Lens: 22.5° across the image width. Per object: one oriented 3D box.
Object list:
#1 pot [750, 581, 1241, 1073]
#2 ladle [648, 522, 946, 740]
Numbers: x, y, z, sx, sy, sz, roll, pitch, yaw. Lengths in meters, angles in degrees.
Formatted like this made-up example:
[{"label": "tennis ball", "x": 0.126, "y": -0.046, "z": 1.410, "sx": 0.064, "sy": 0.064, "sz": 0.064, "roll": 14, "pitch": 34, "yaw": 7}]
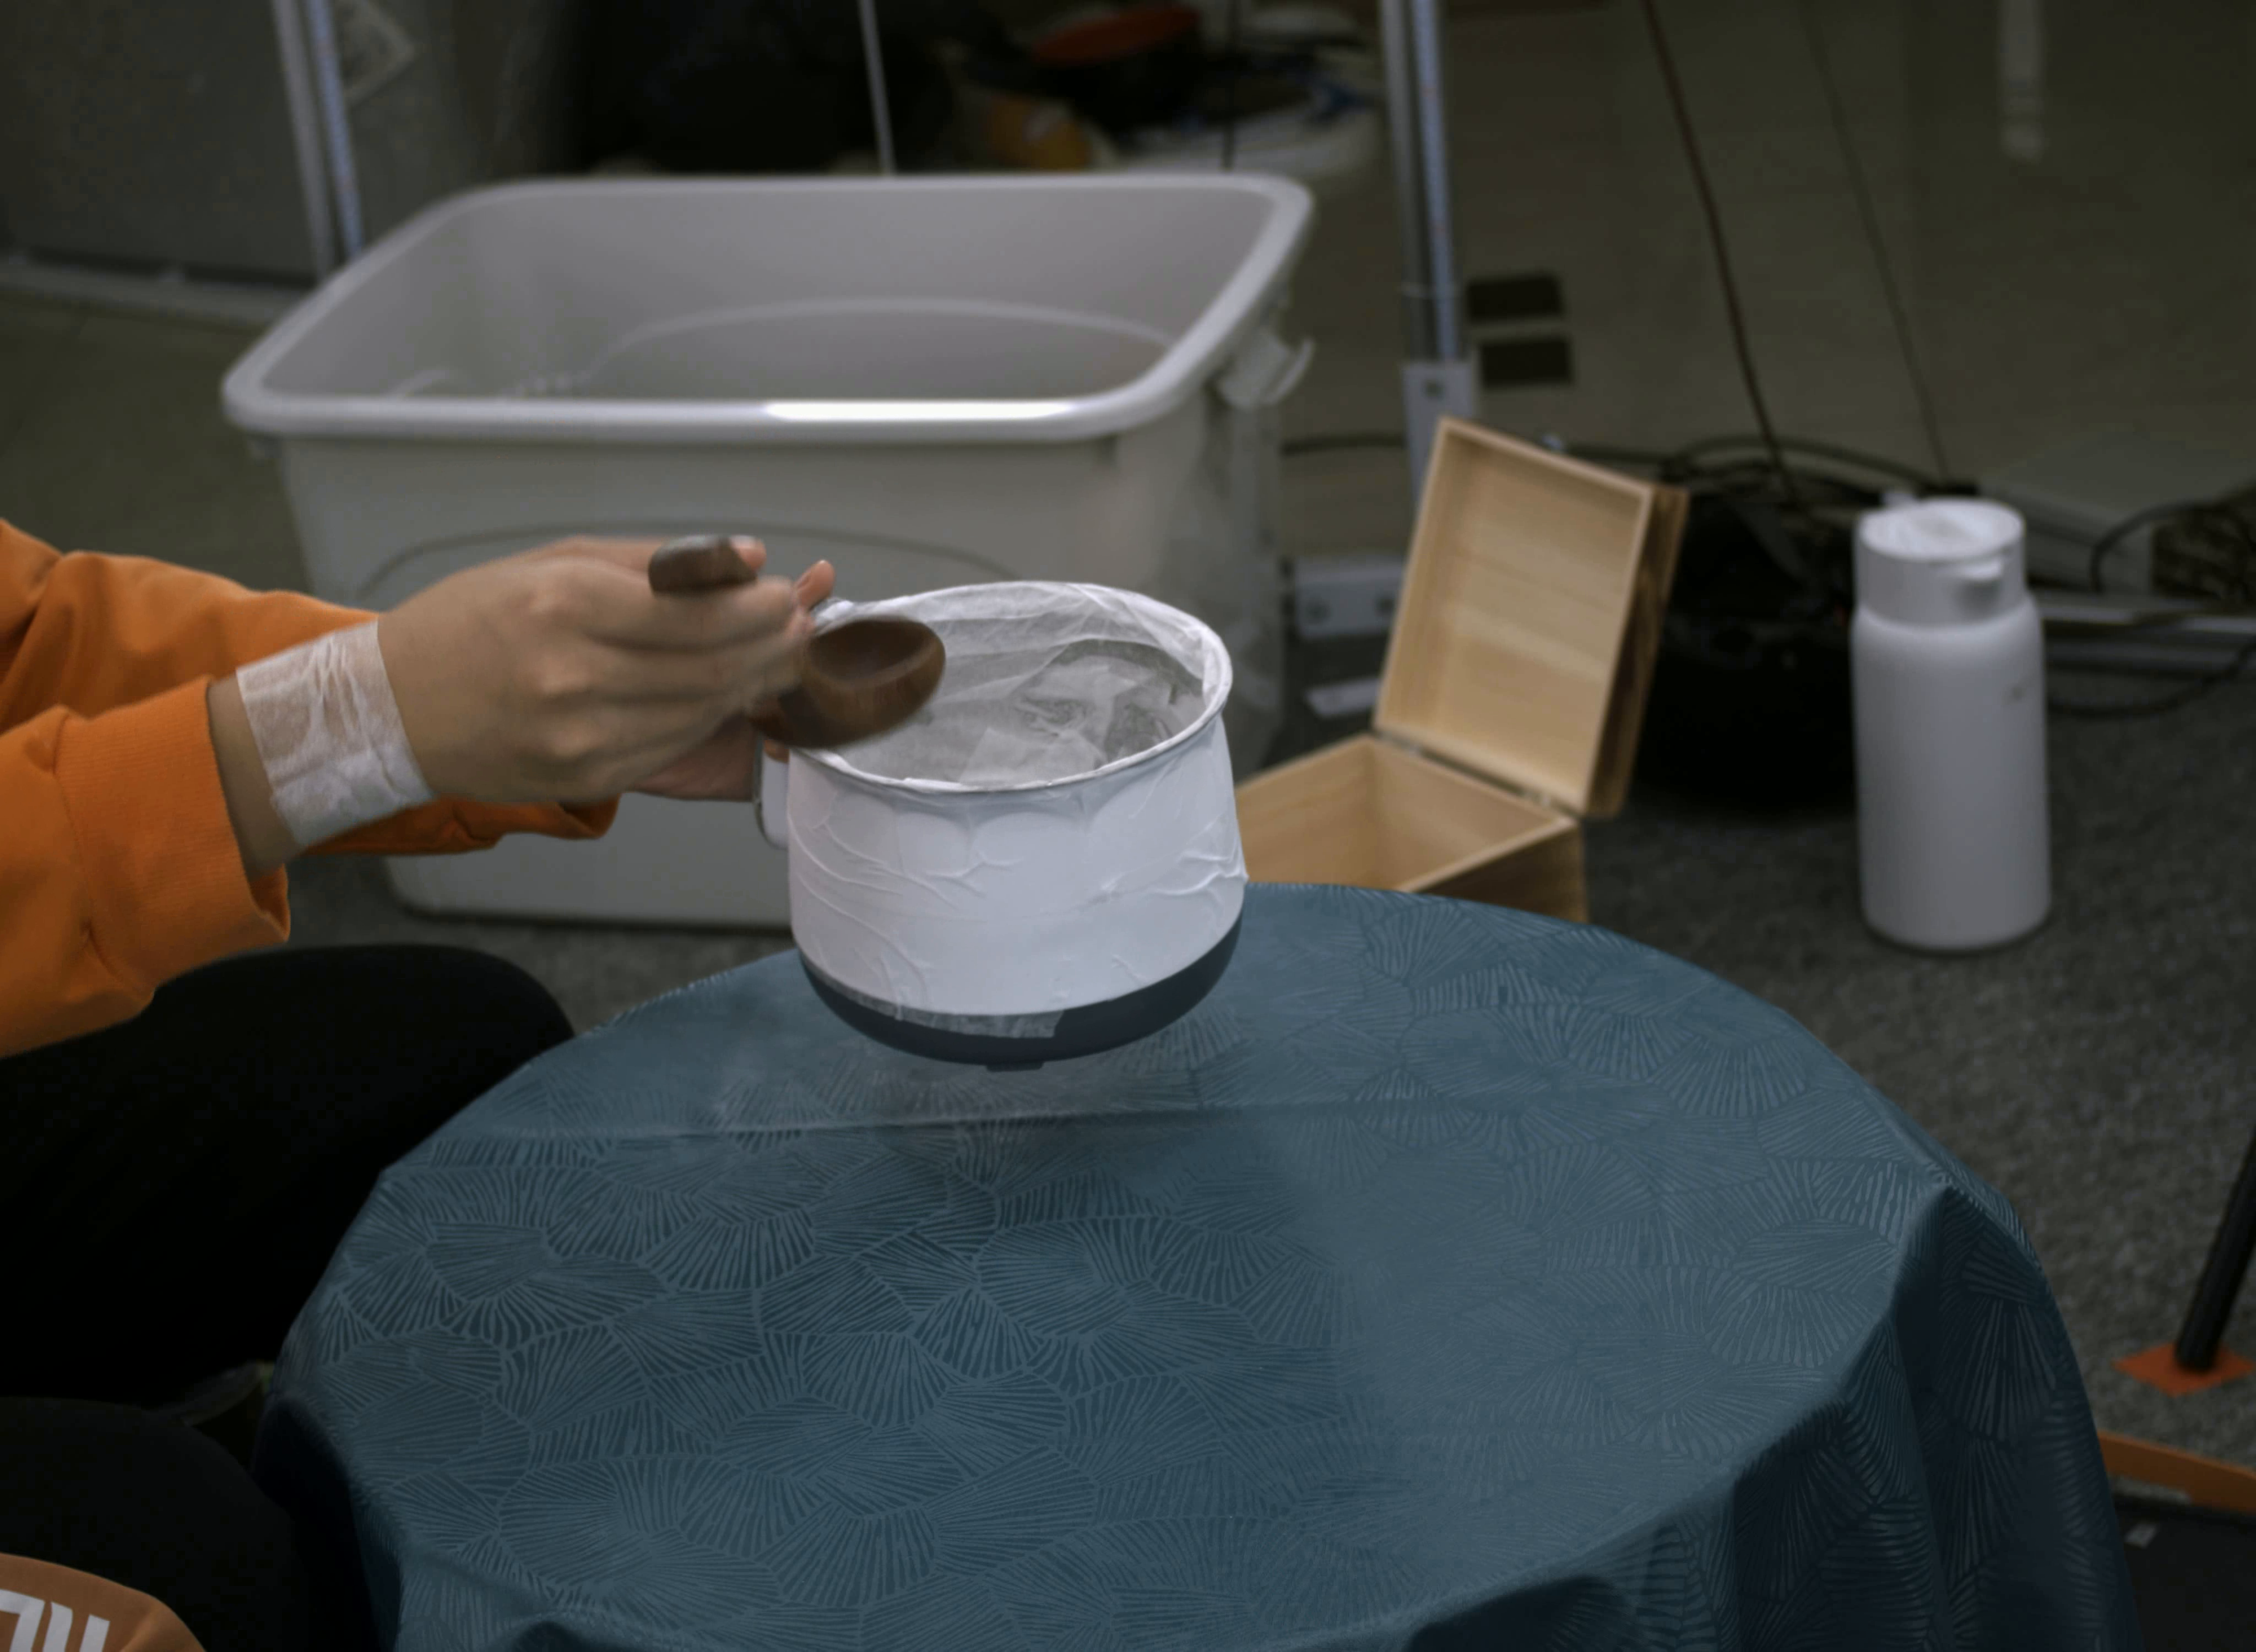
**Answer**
[{"label": "pot", "x": -0.065, "y": -0.007, "z": 2.199, "sx": 0.231, "sy": 0.139, "sz": 0.177, "roll": 24, "pitch": 38, "yaw": 40}, {"label": "ladle", "x": -0.121, "y": -0.079, "z": 1.892, "sx": 0.076, "sy": 0.064, "sz": 0.262, "roll": -21, "pitch": -17, "yaw": 7}]
